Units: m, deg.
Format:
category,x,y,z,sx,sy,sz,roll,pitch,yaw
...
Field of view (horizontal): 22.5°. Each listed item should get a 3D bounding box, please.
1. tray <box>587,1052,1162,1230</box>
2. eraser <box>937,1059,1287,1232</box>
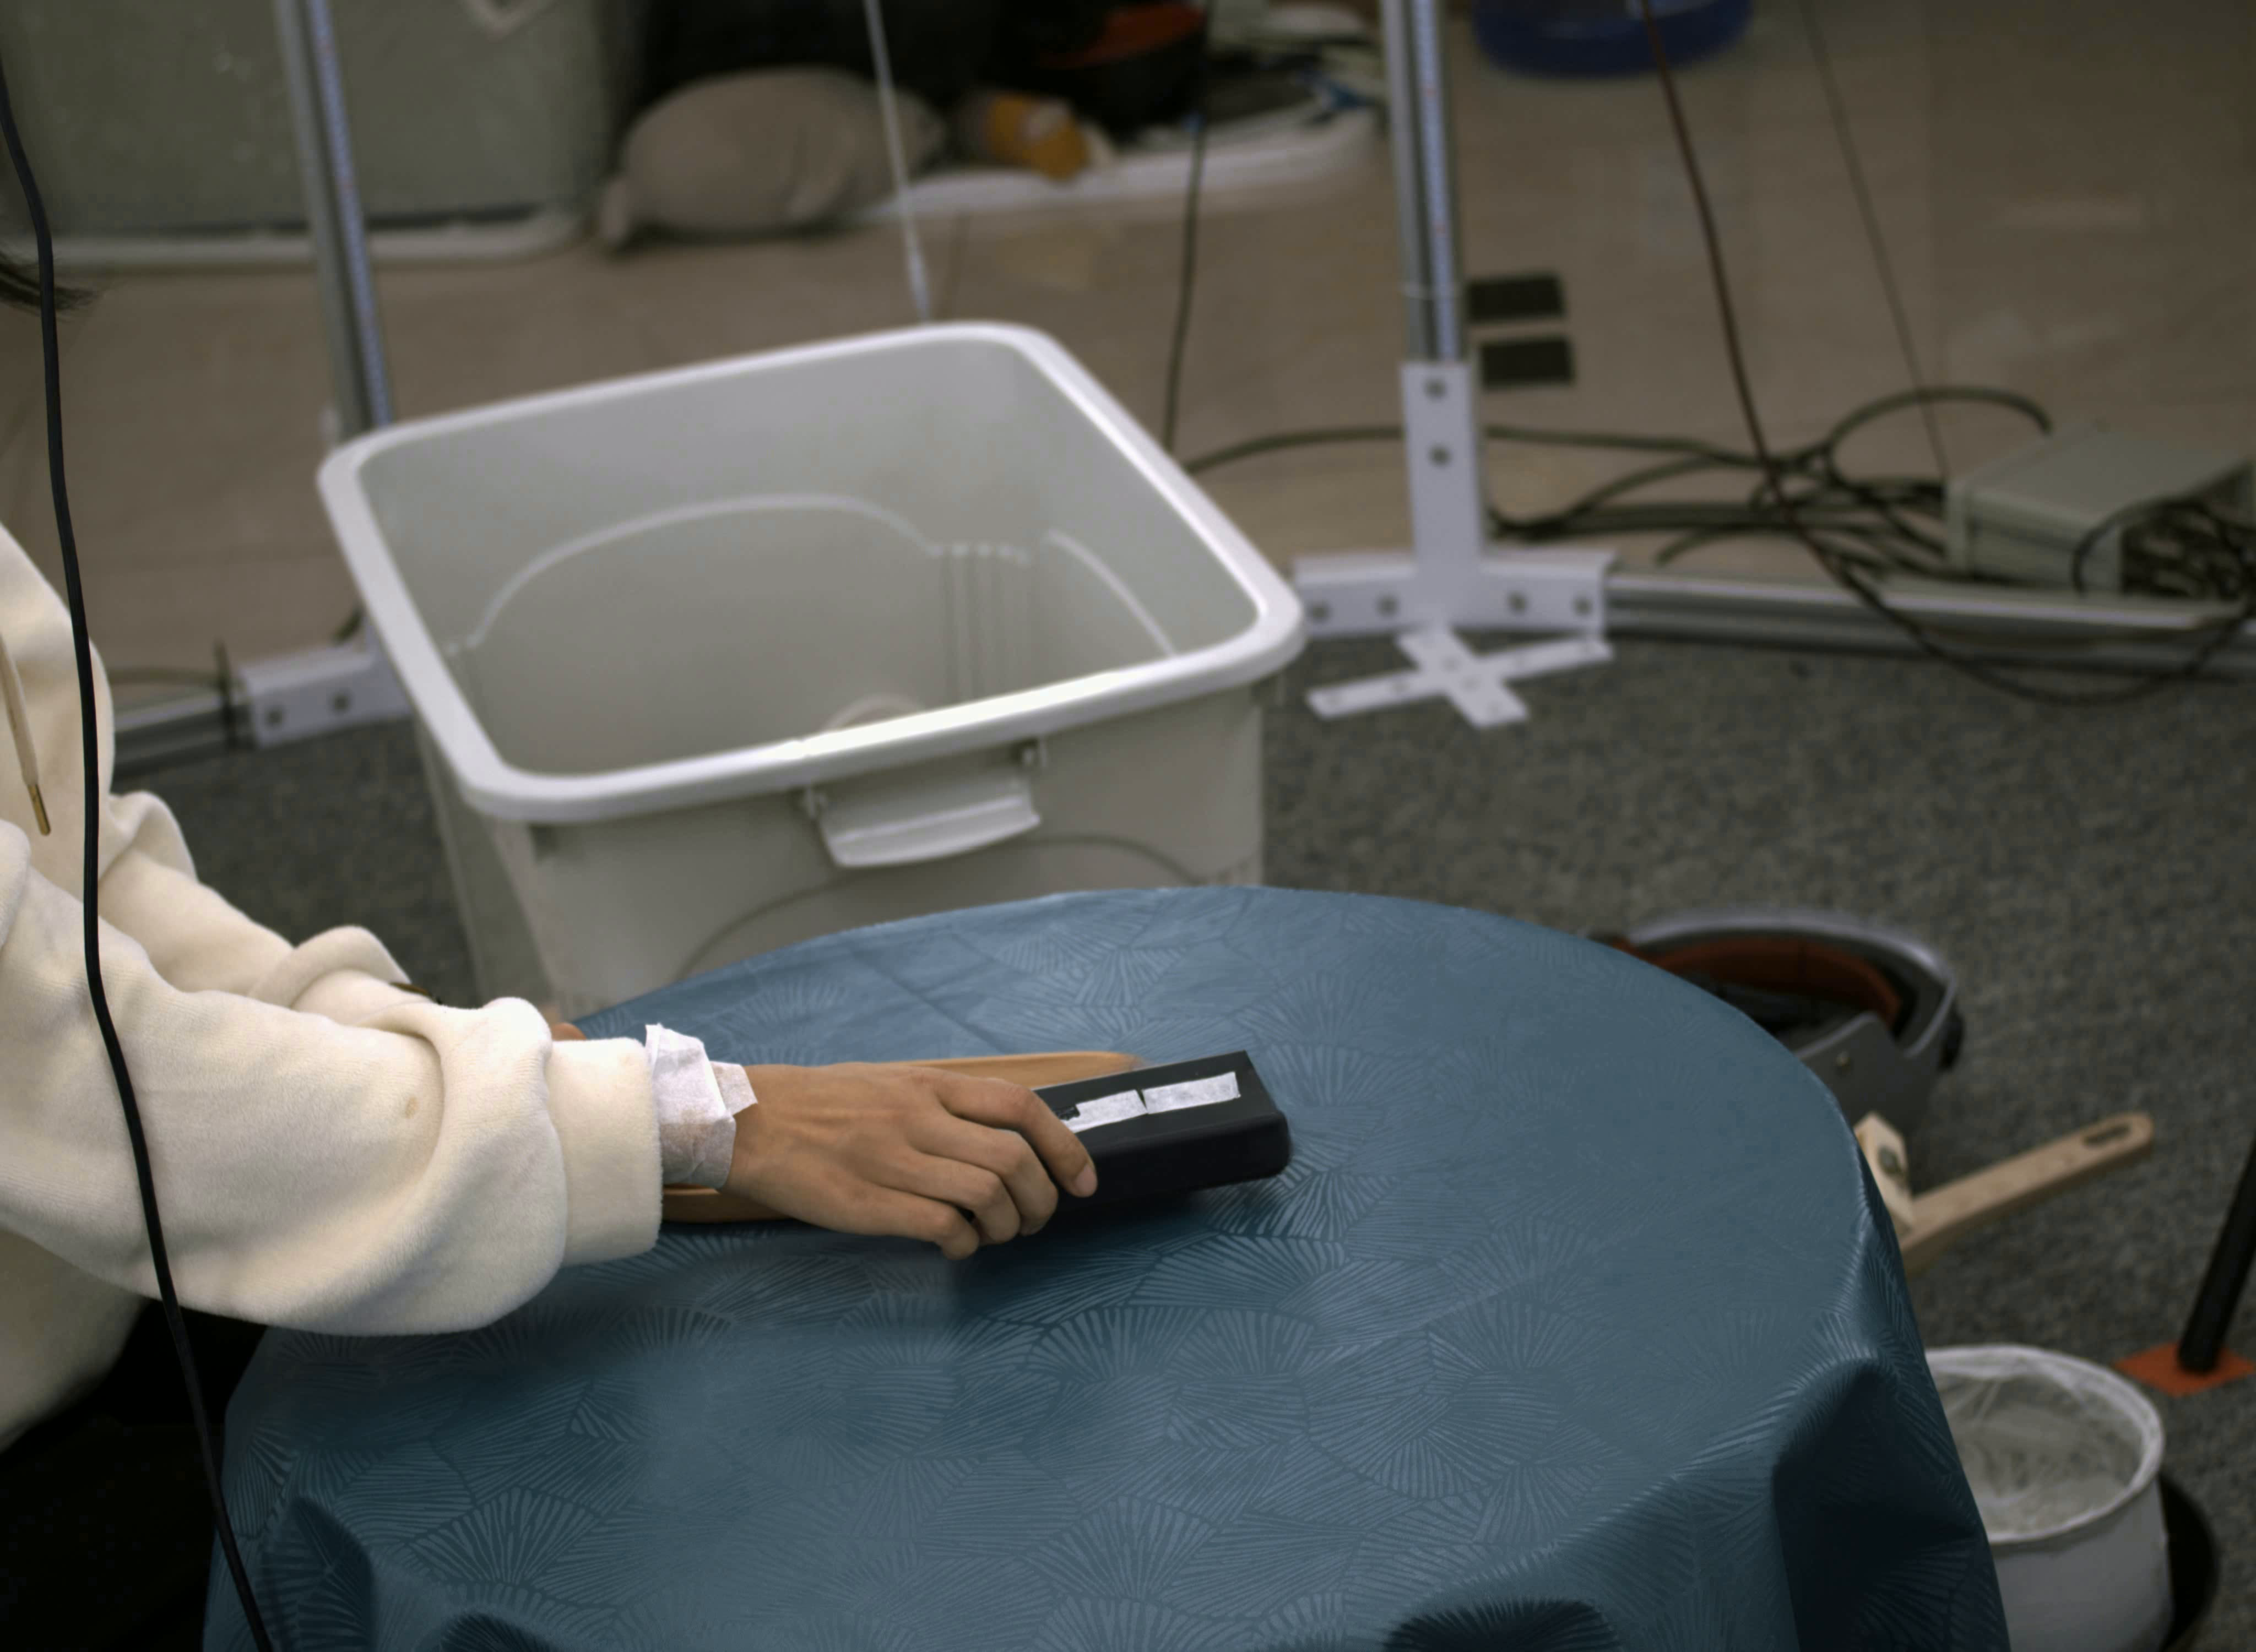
category,x,y,z,sx,sy,sz,roll,pitch,yaw
tray,-0.094,0.122,2.188,0.231,0.020,0.100,-5,25,6
eraser,-0.006,0.119,2.127,0.125,0.031,0.053,-10,28,-11
